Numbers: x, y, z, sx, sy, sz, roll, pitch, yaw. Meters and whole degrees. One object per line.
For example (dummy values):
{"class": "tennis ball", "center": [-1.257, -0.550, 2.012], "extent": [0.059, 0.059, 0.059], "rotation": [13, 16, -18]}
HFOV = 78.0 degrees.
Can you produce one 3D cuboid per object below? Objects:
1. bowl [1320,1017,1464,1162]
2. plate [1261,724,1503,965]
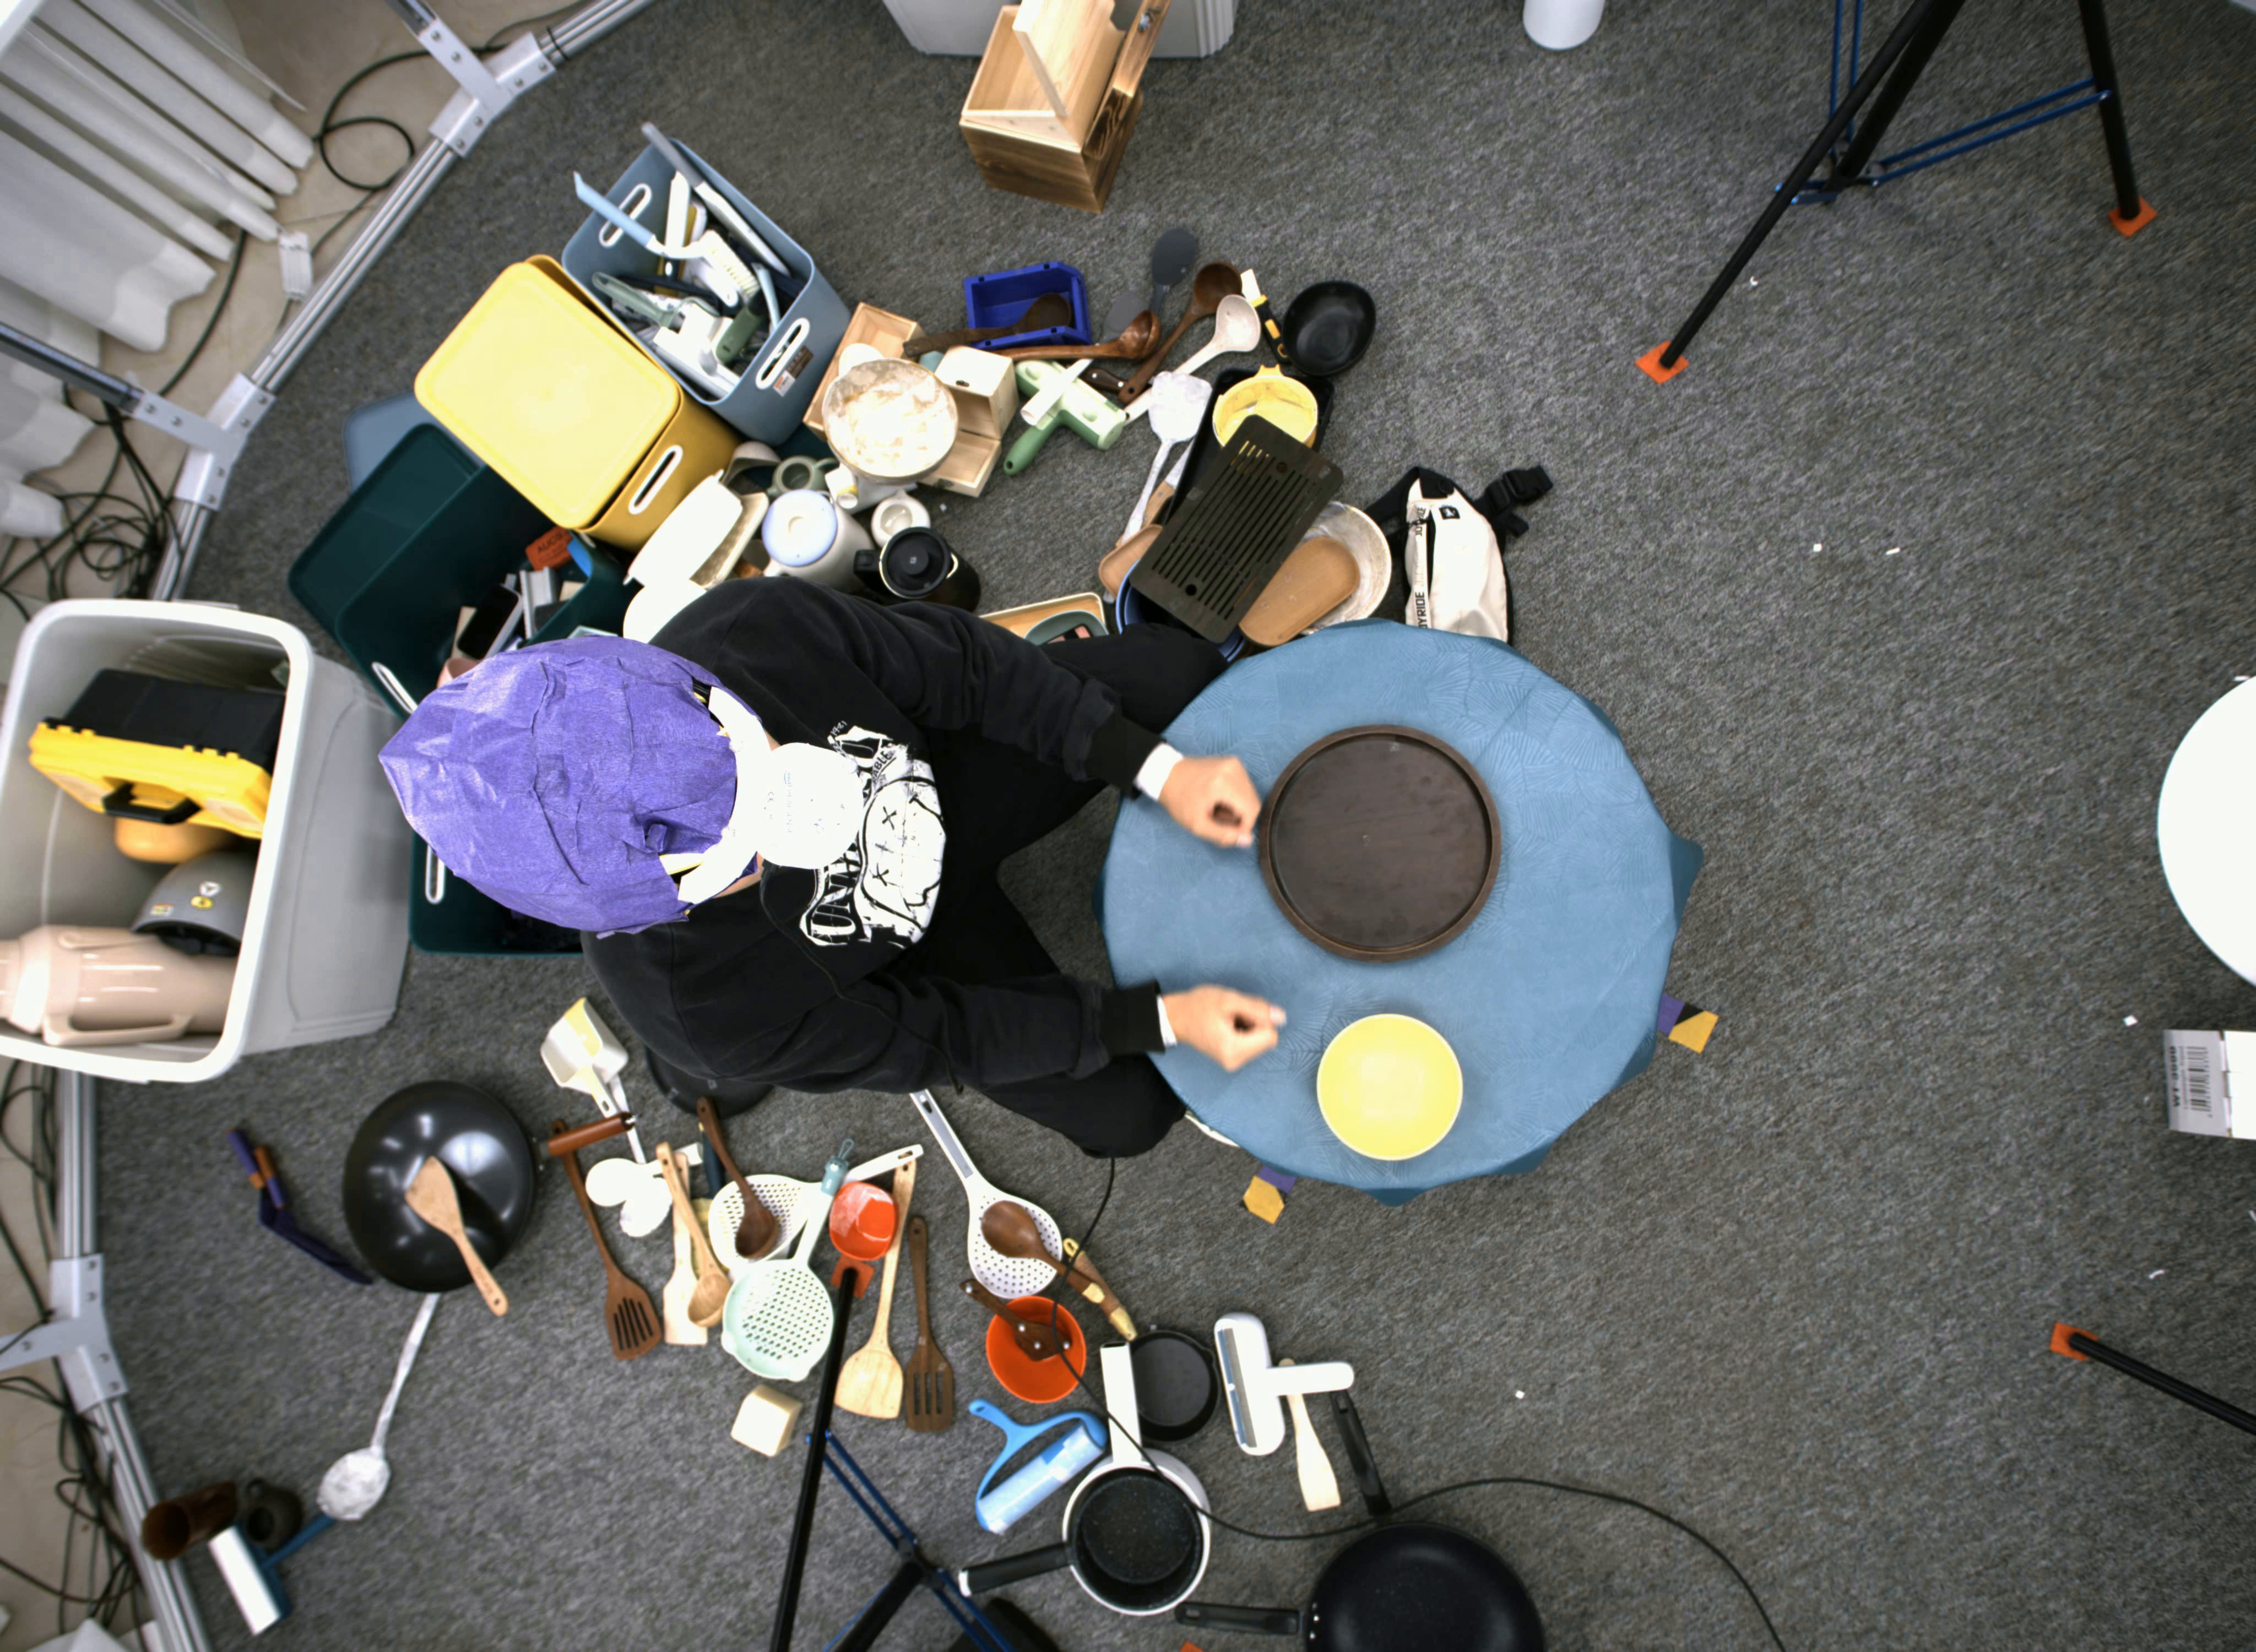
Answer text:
{"class": "bowl", "center": [0.271, 0.268, 1.423], "extent": [0.146, 0.060, 0.144], "rotation": [-2, 84, 11]}
{"class": "plate", "center": [0.267, 0.019, 1.458], "extent": [0.256, 0.029, 0.254], "rotation": [-1, 87, 11]}
